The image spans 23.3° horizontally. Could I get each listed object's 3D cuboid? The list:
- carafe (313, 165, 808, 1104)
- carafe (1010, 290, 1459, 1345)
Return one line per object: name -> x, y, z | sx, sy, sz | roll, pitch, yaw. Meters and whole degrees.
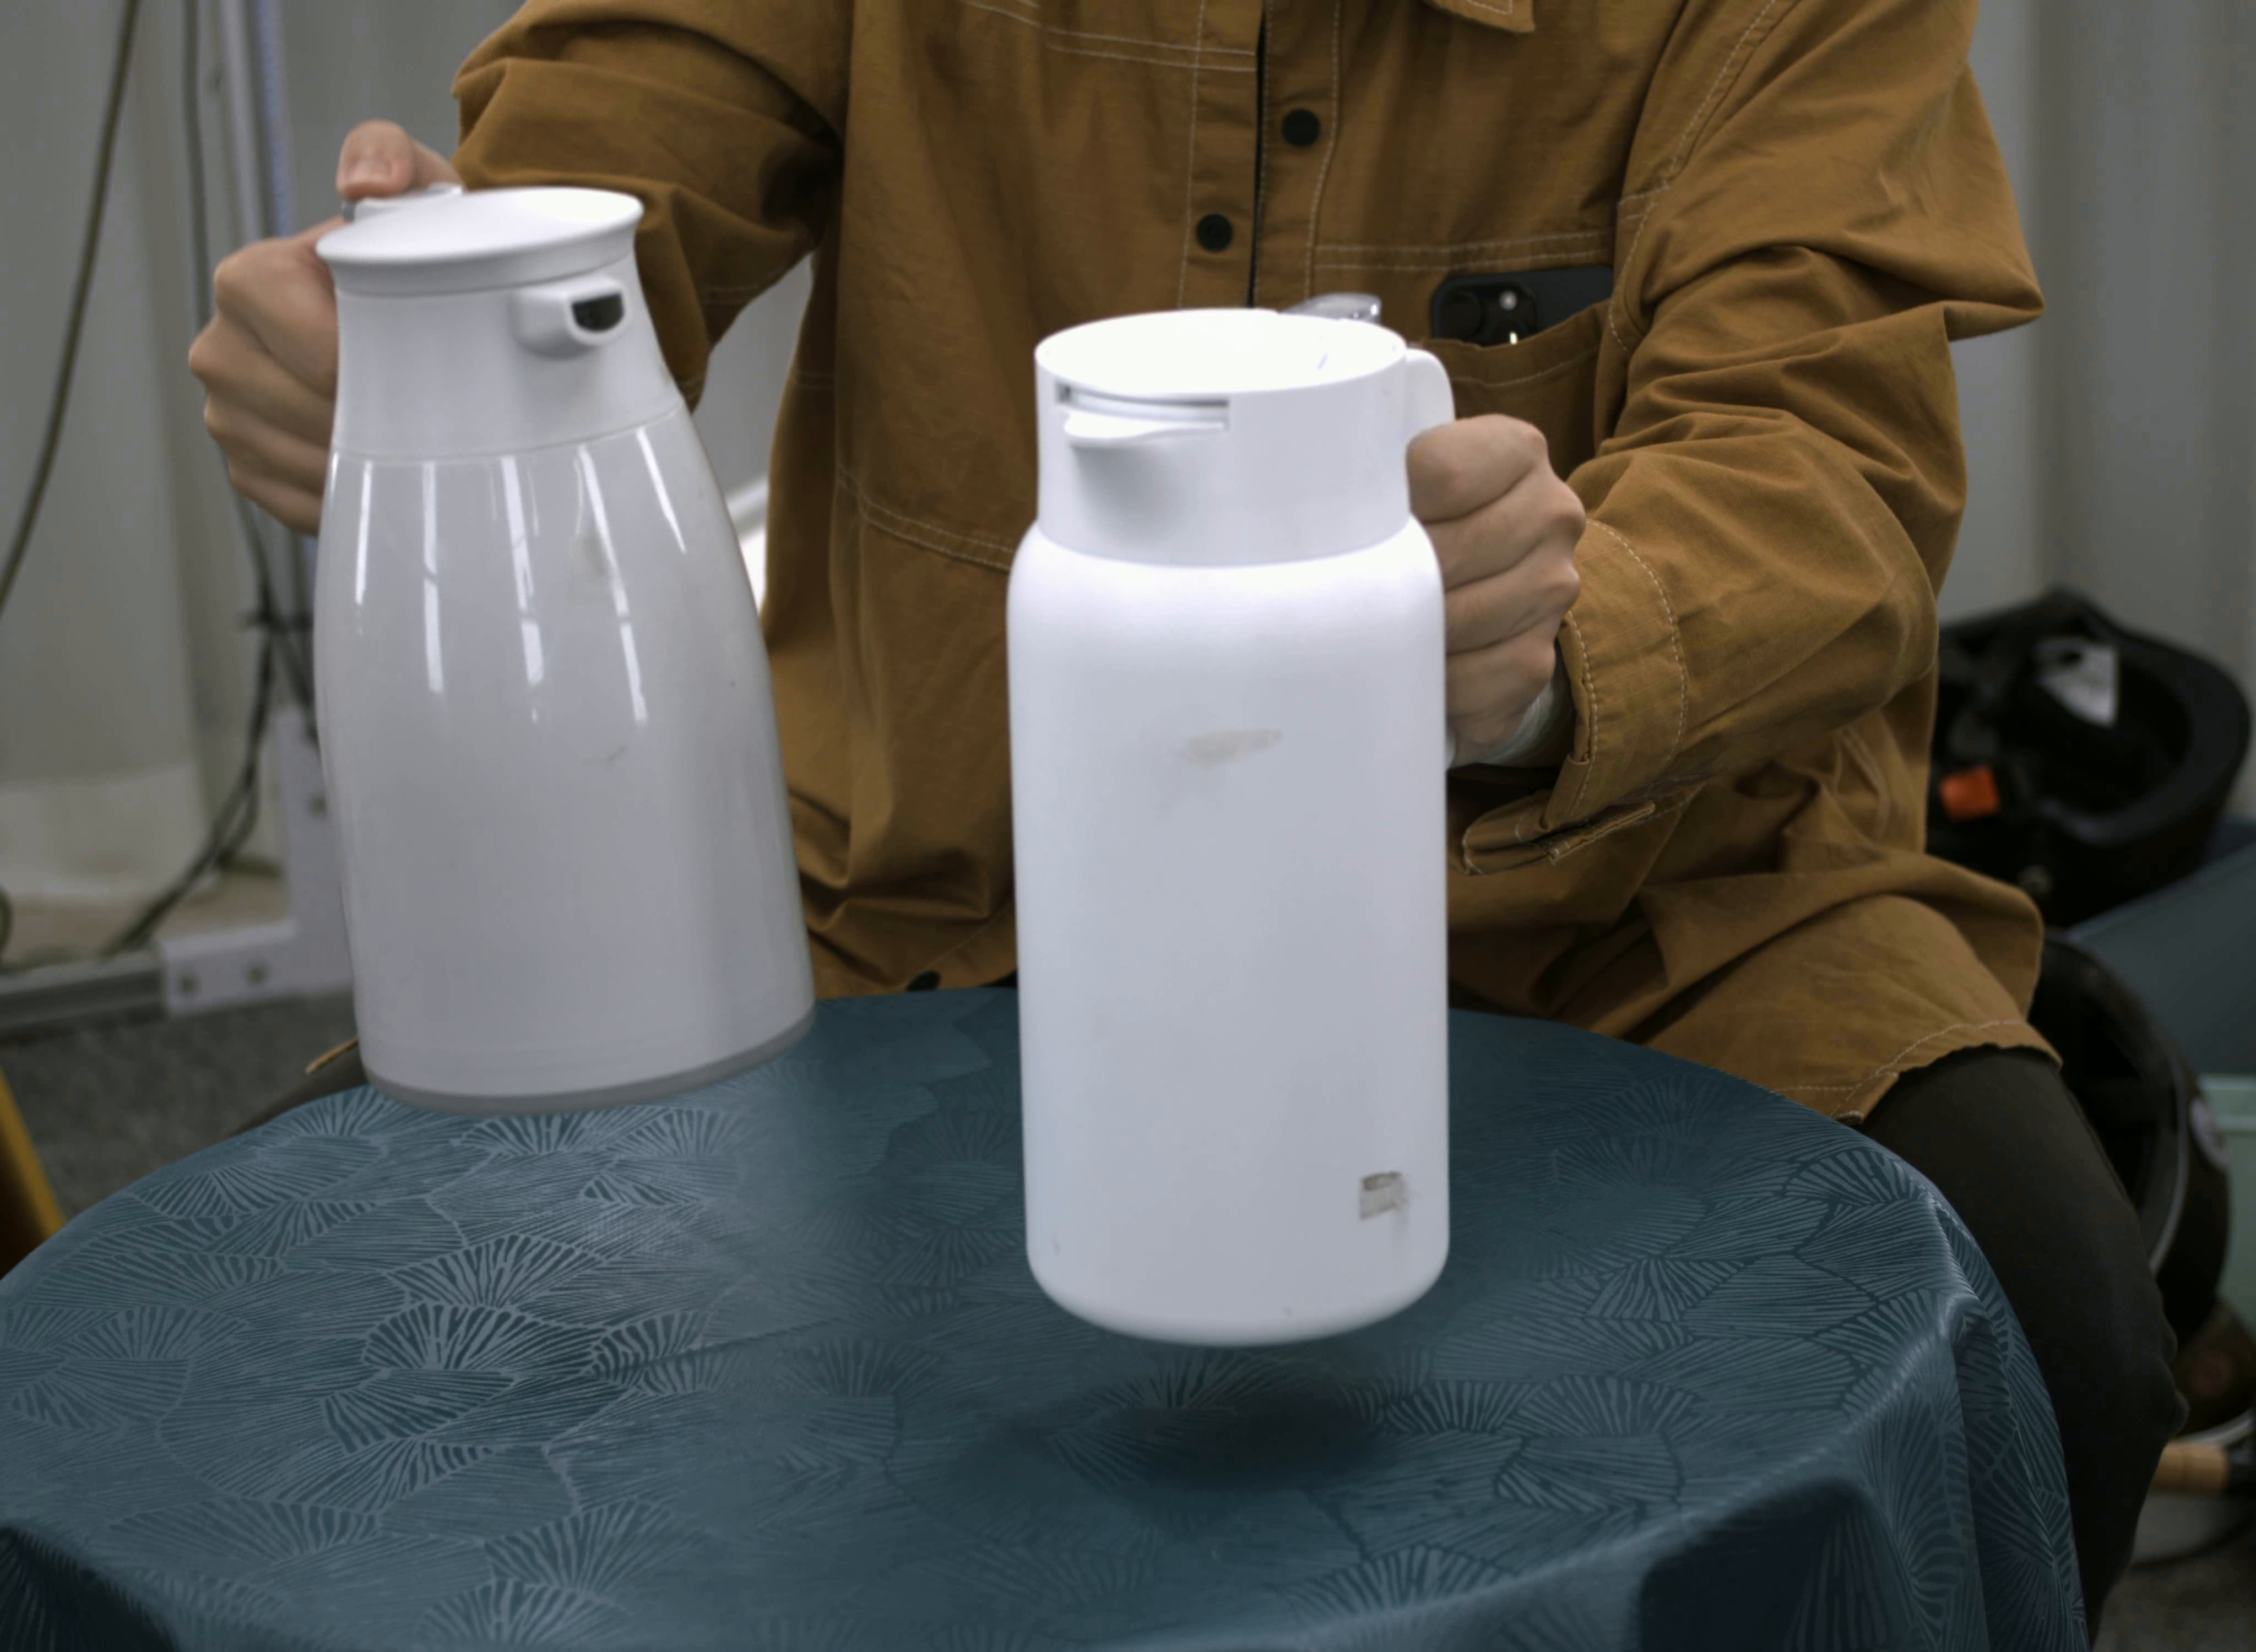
carafe -> -0.180, -0.062, 1.561 | 0.132, 0.247, 0.169 | -15, 16, -34
carafe -> 0.036, -0.007, 1.488 | 0.124, 0.268, 0.173 | 6, 17, 31
